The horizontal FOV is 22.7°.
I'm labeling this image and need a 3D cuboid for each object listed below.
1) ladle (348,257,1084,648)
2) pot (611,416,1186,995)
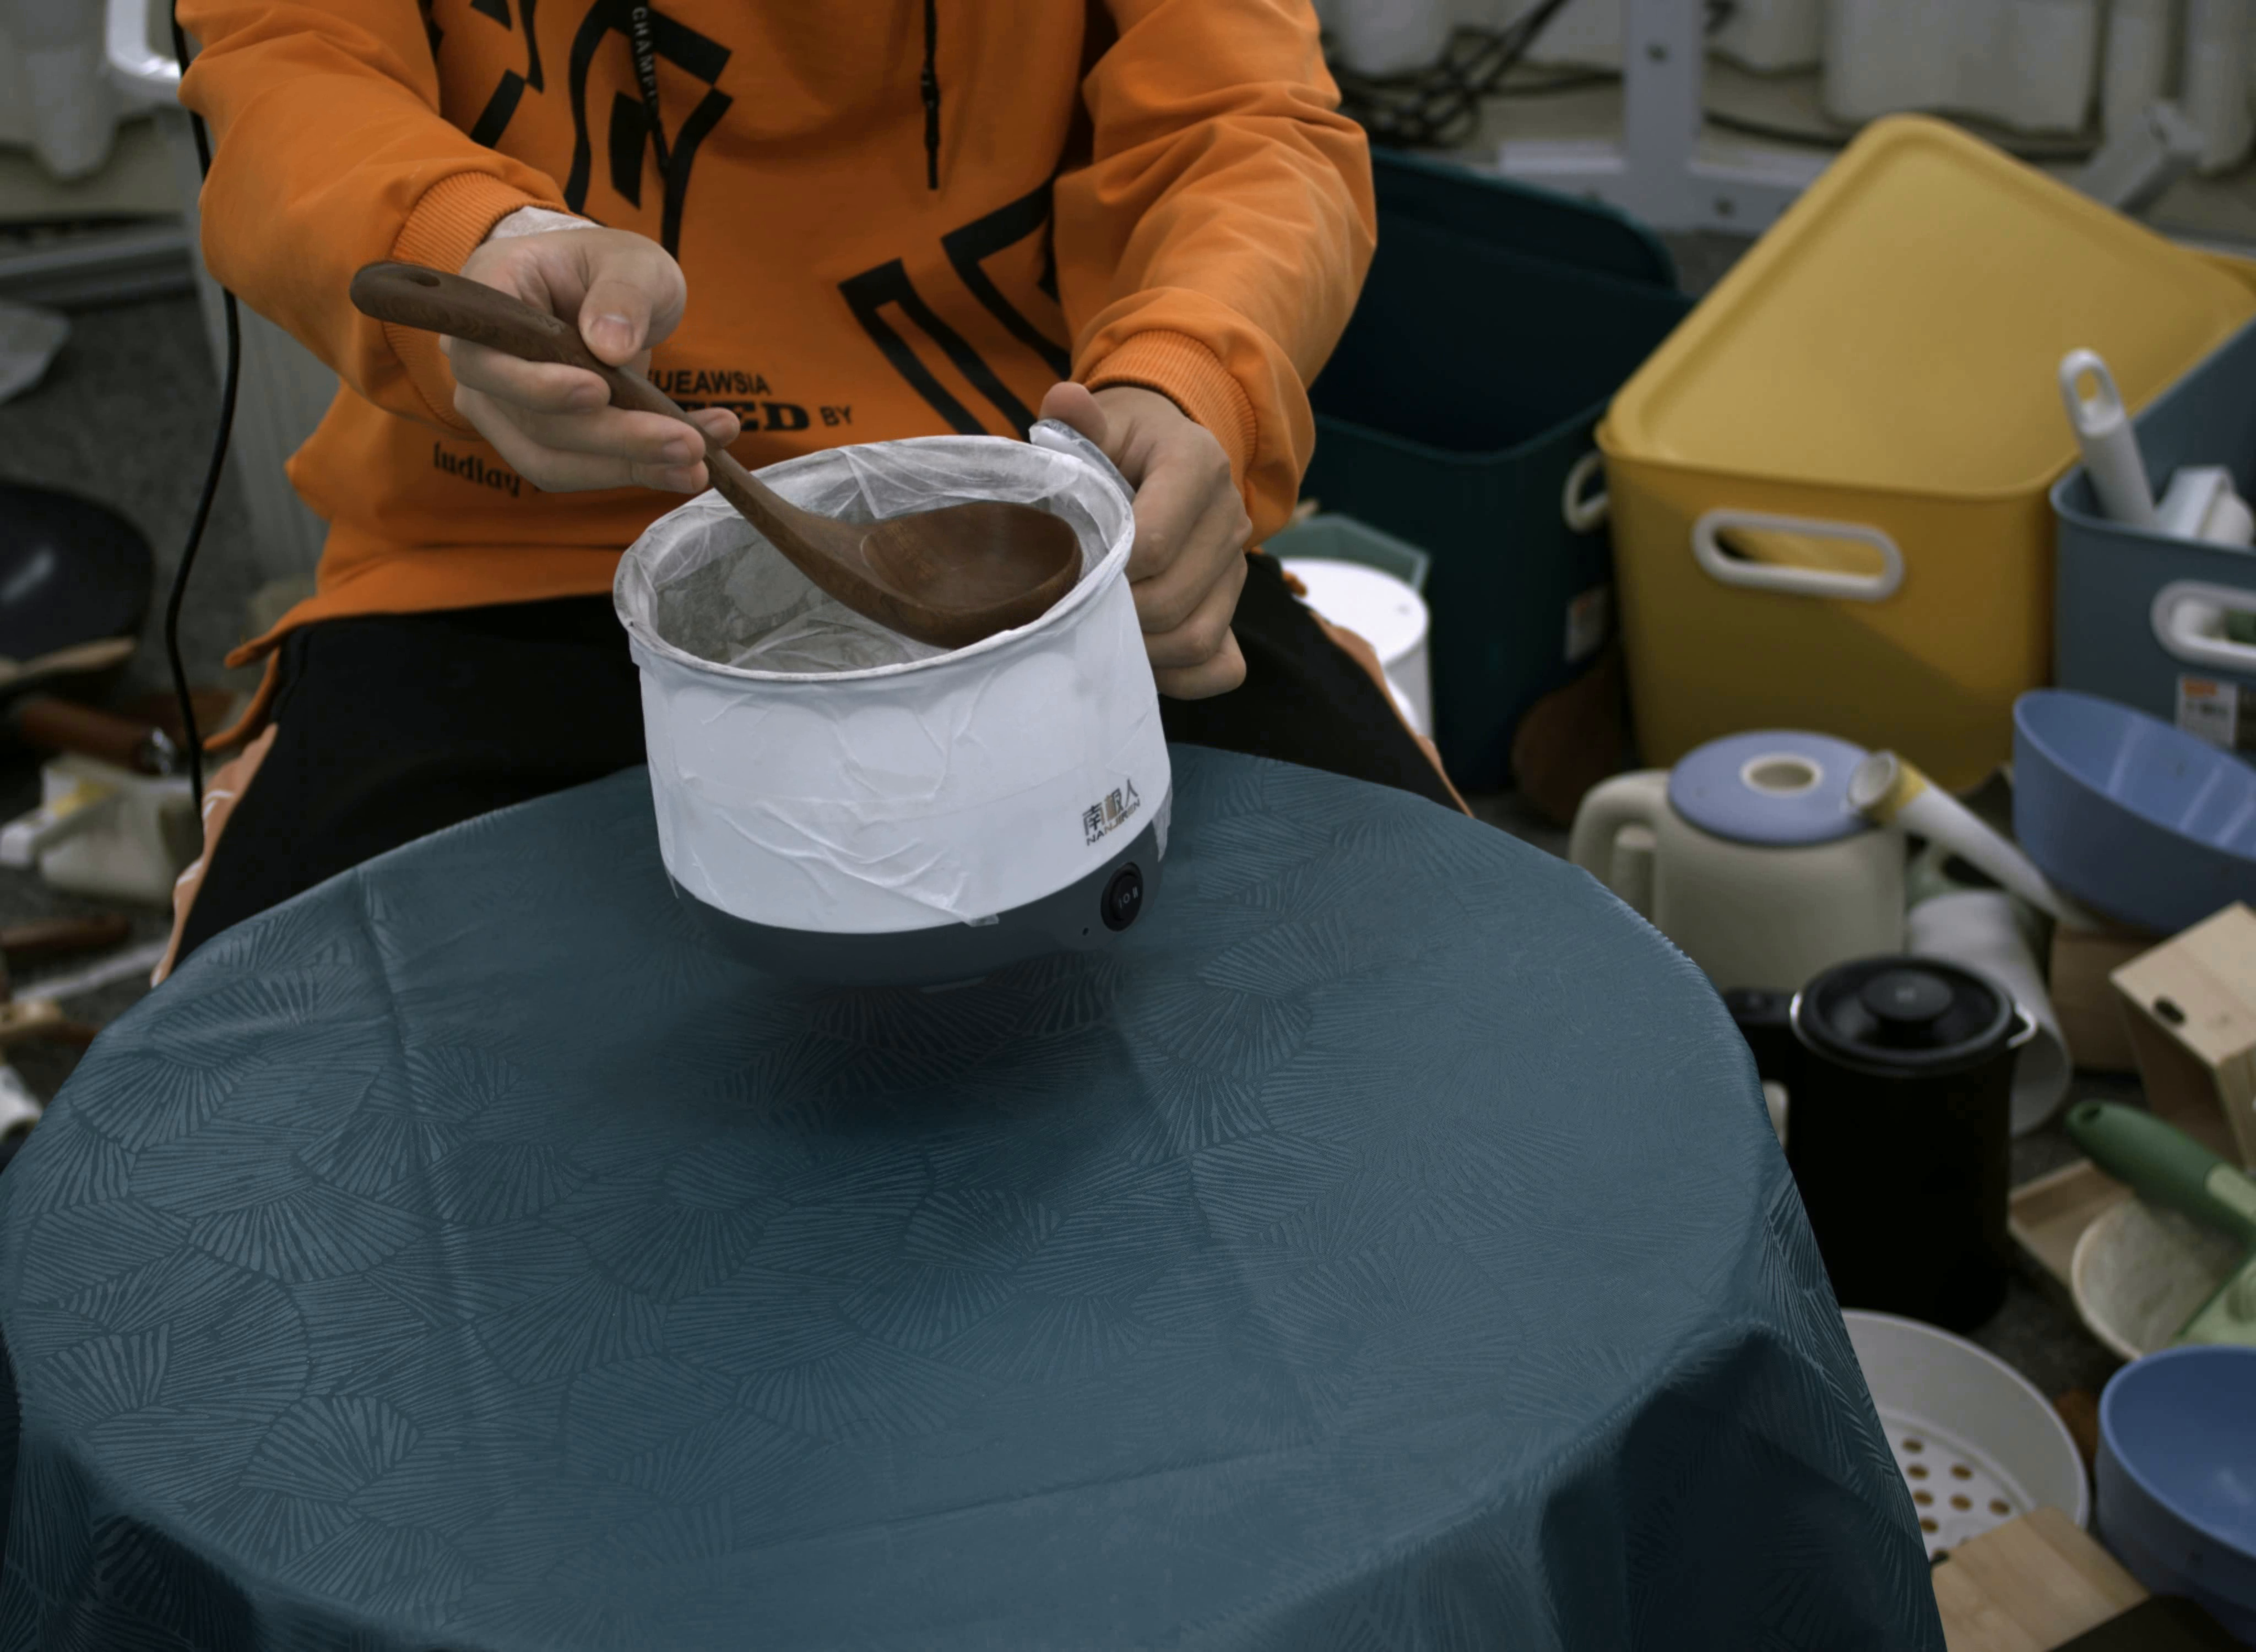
[{"bbox_3d":[-0.131,-0.132,1.845,0.259,0.064,0.077,32,21,-19],"label":"ladle"},{"bbox_3d":[-0.062,-0.049,1.928,0.178,0.135,0.237,13,34,32],"label":"pot"}]
